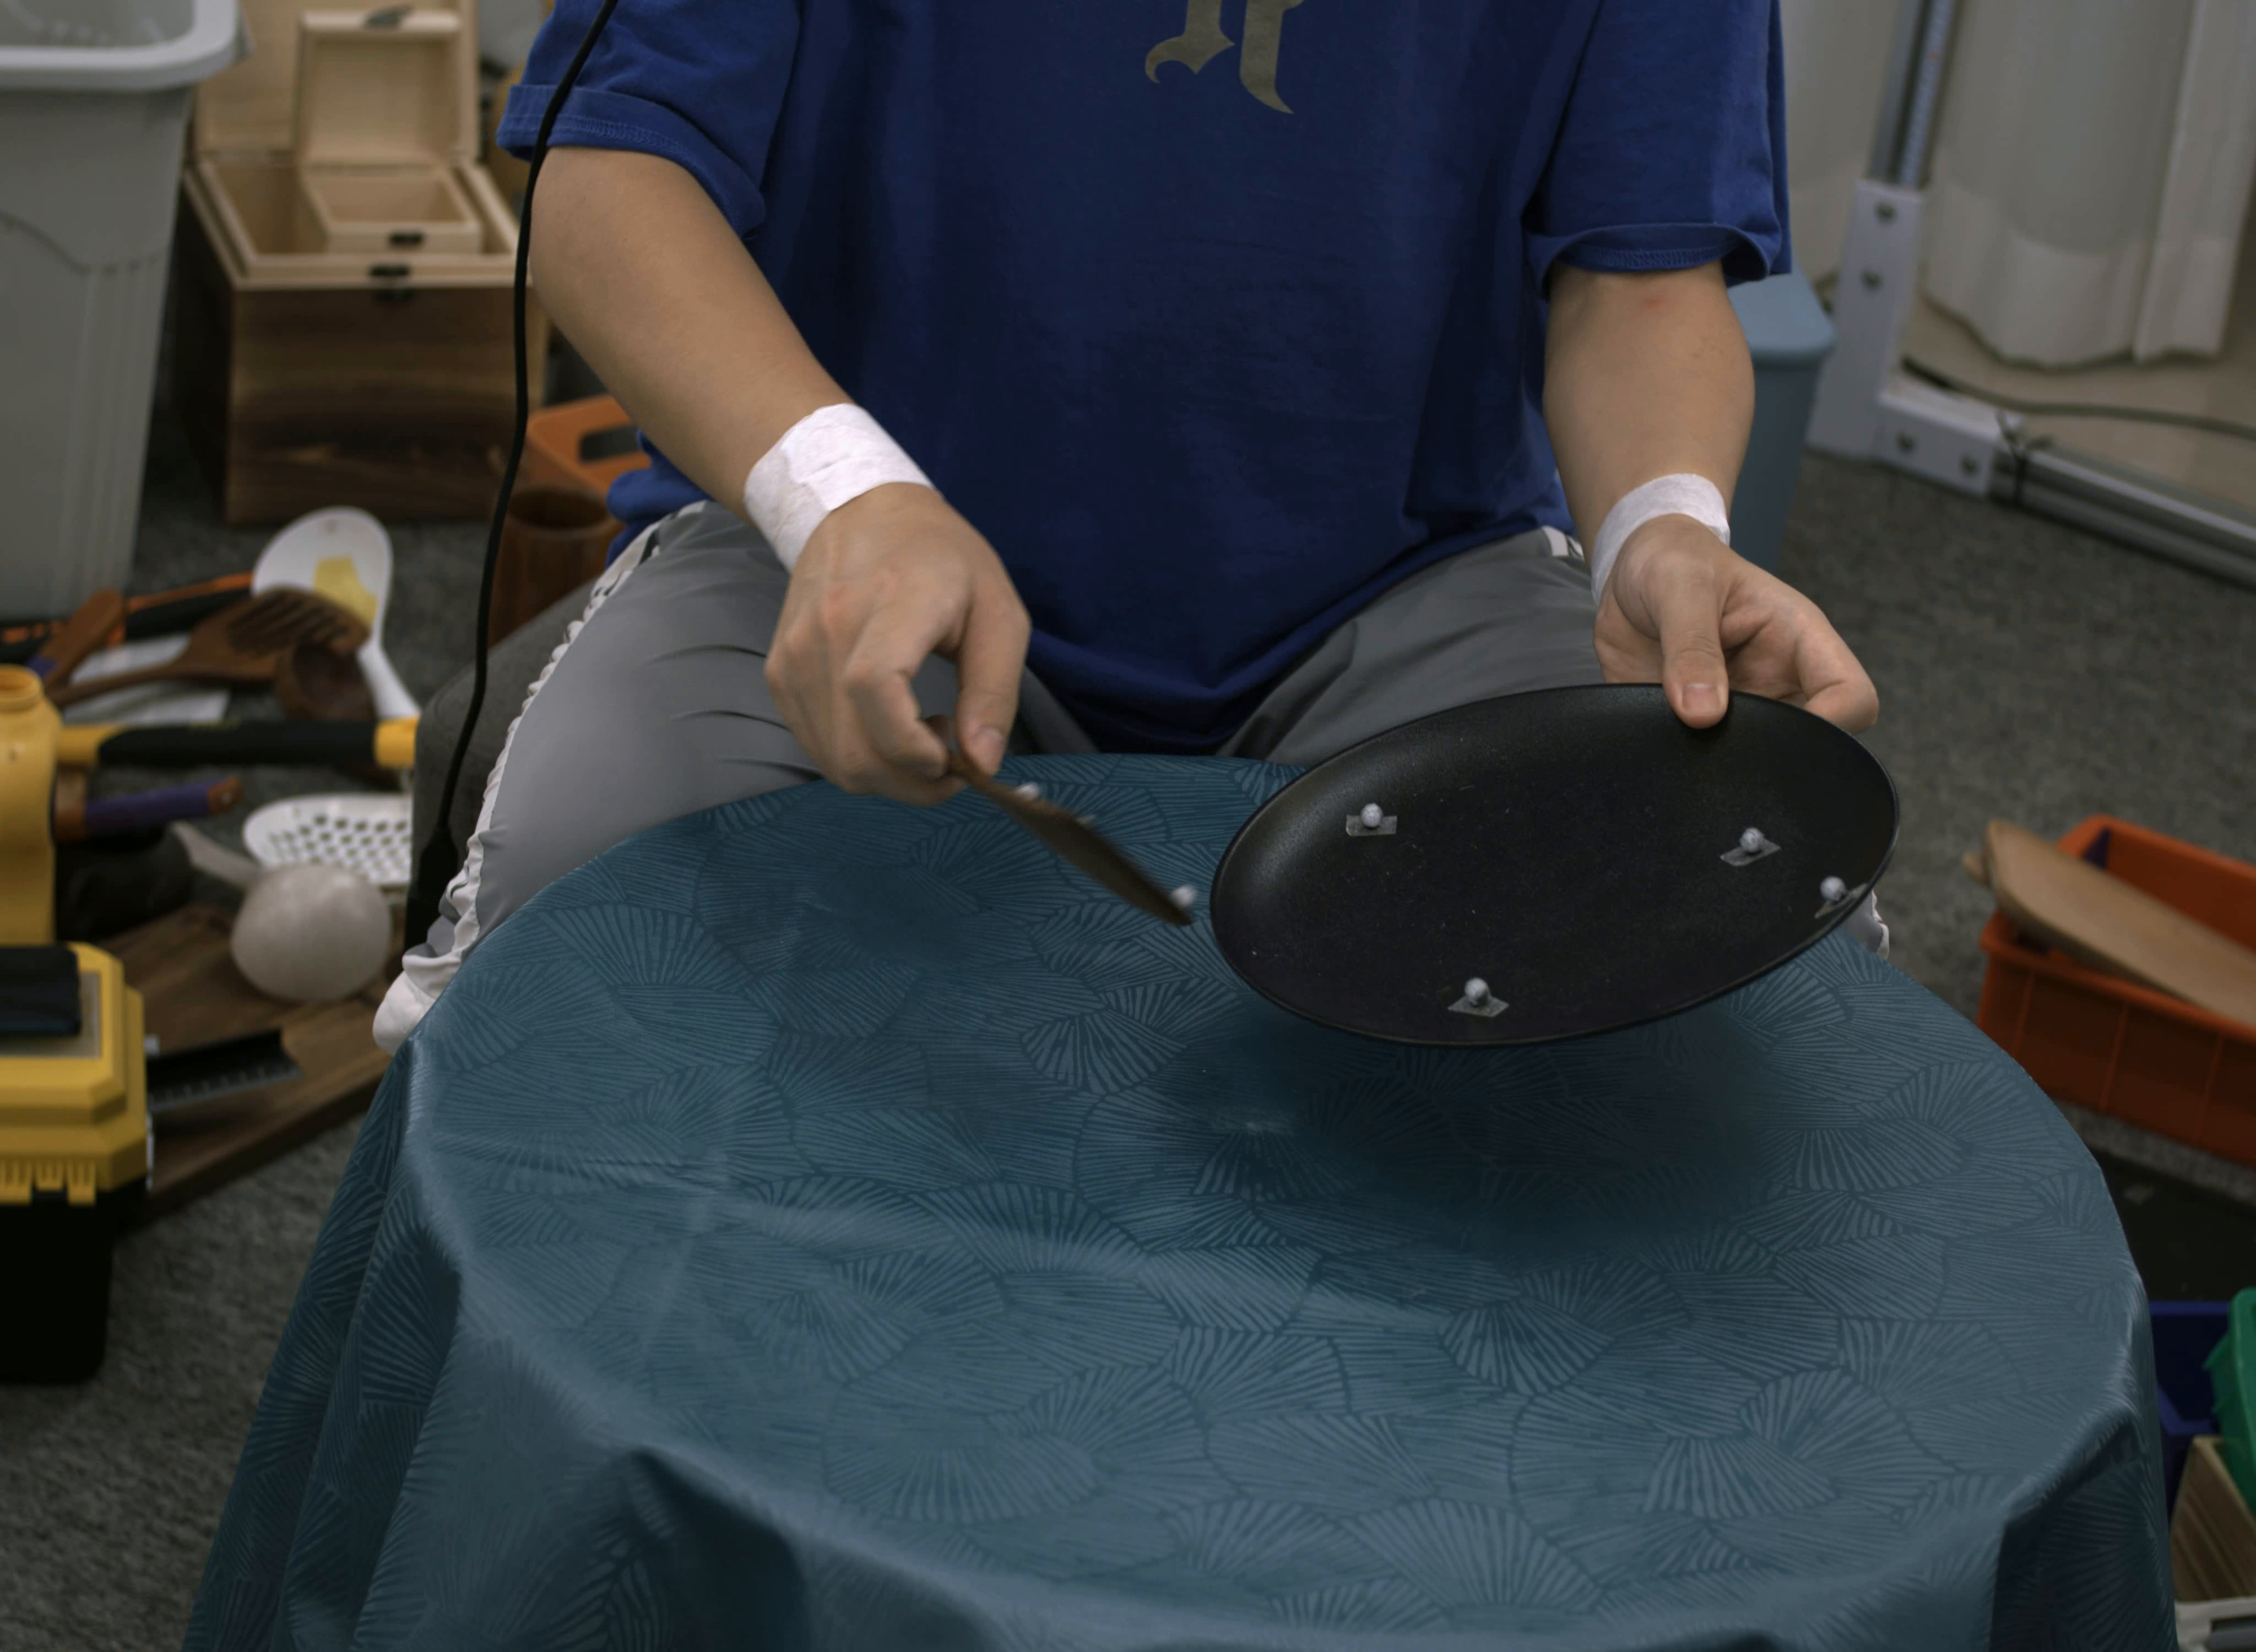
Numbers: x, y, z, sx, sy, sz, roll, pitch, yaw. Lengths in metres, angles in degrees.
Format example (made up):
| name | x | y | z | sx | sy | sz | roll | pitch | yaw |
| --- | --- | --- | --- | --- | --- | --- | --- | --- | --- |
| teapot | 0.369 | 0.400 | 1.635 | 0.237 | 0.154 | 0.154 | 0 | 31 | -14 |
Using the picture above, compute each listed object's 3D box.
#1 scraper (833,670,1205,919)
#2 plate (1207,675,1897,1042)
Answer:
| name | x | y | z | sx | sy | sz | roll | pitch | yaw |
| --- | --- | --- | --- | --- | --- | --- | --- | --- | --- |
| scraper | -0.047 | -0.017 | 1.866 | 0.075 | 0.011 | 0.213 | 43 | -7 | -36 |
| plate | 0.148 | 0.015 | 1.861 | 0.244 | 0.023 | 0.246 | -10 | 28 | 5 |
